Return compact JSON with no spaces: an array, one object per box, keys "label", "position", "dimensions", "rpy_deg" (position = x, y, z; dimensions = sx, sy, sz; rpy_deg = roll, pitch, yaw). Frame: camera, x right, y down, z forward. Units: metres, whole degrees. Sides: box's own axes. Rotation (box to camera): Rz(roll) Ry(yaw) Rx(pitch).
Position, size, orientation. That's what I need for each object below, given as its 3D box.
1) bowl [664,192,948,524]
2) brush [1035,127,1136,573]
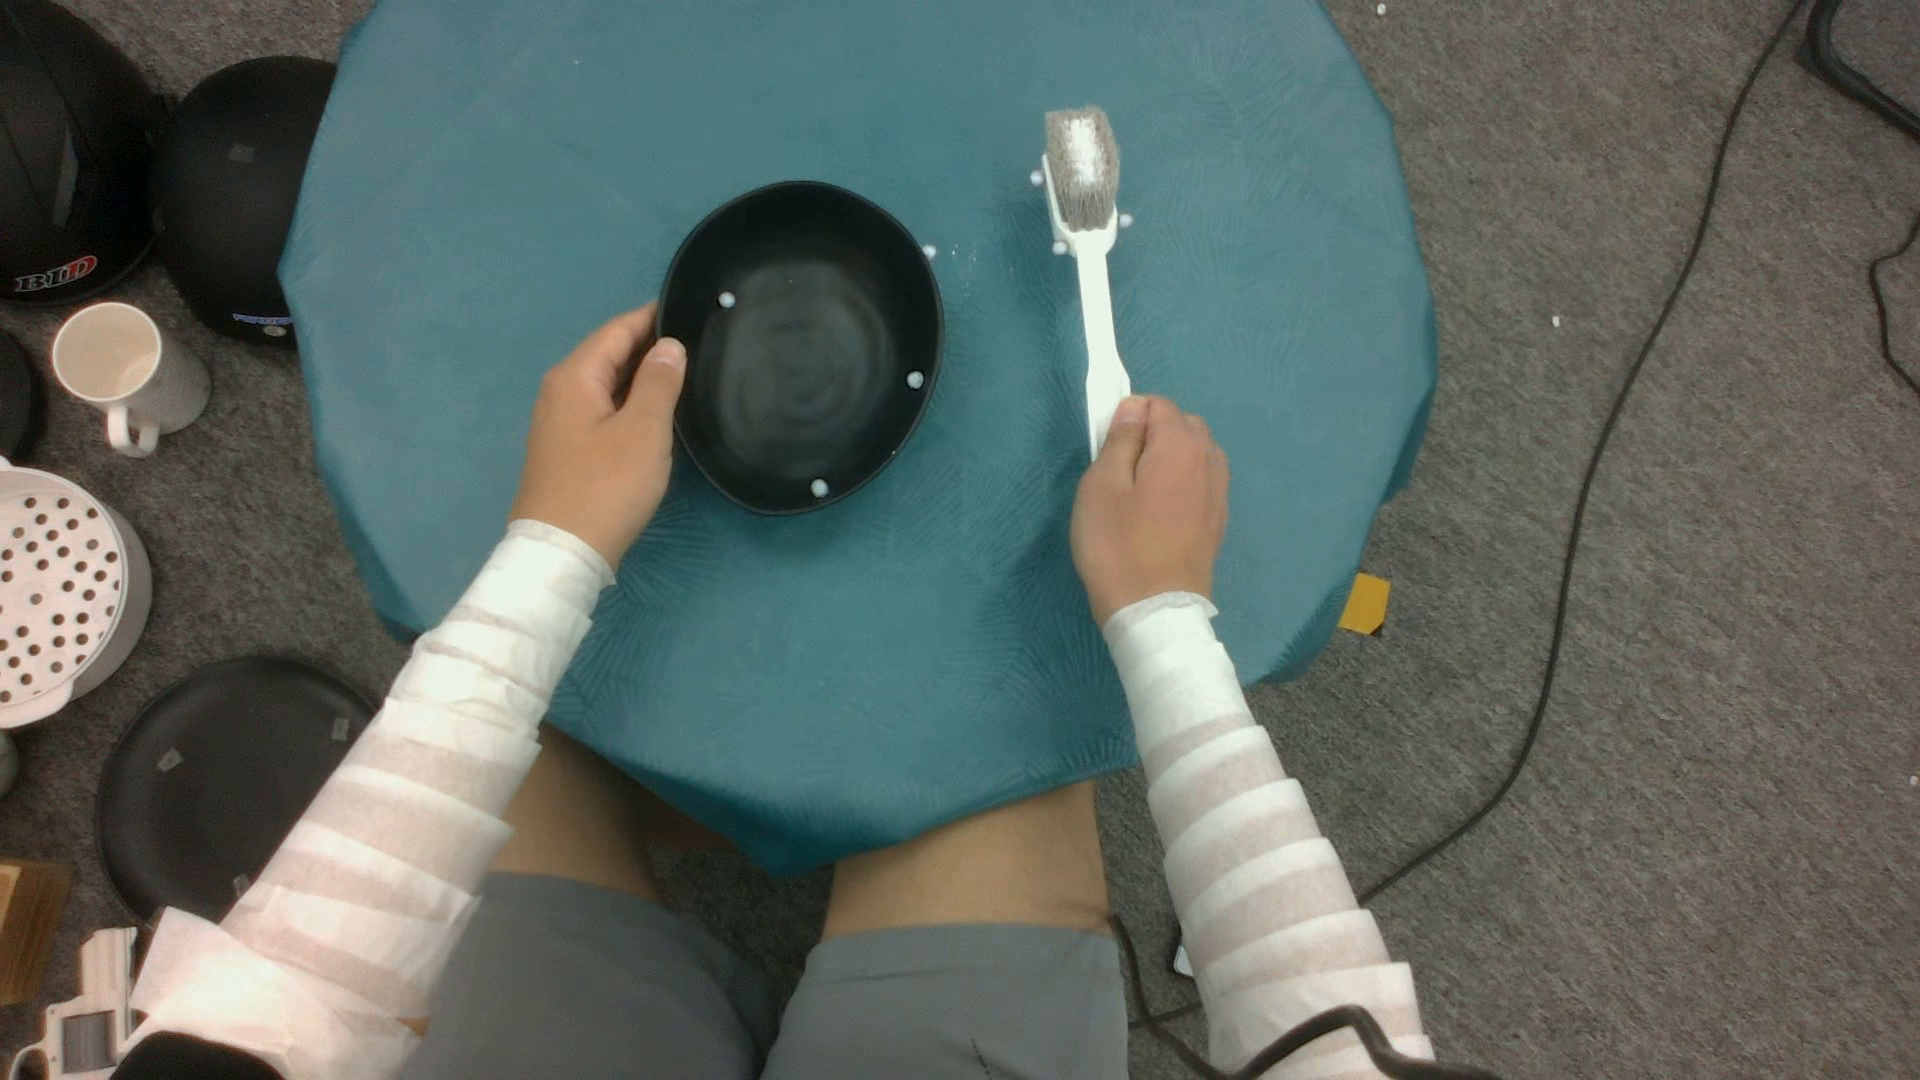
[{"label":"bowl","position":[-0.077,-0.087,0.700],"dimensions":[0.137,0.066,0.170],"rpy_deg":[8,78,-3]},{"label":"brush","position":[0.067,-0.104,0.700],"dimensions":[0.034,0.050,0.244],"rpy_deg":[-3,70,-5]}]
